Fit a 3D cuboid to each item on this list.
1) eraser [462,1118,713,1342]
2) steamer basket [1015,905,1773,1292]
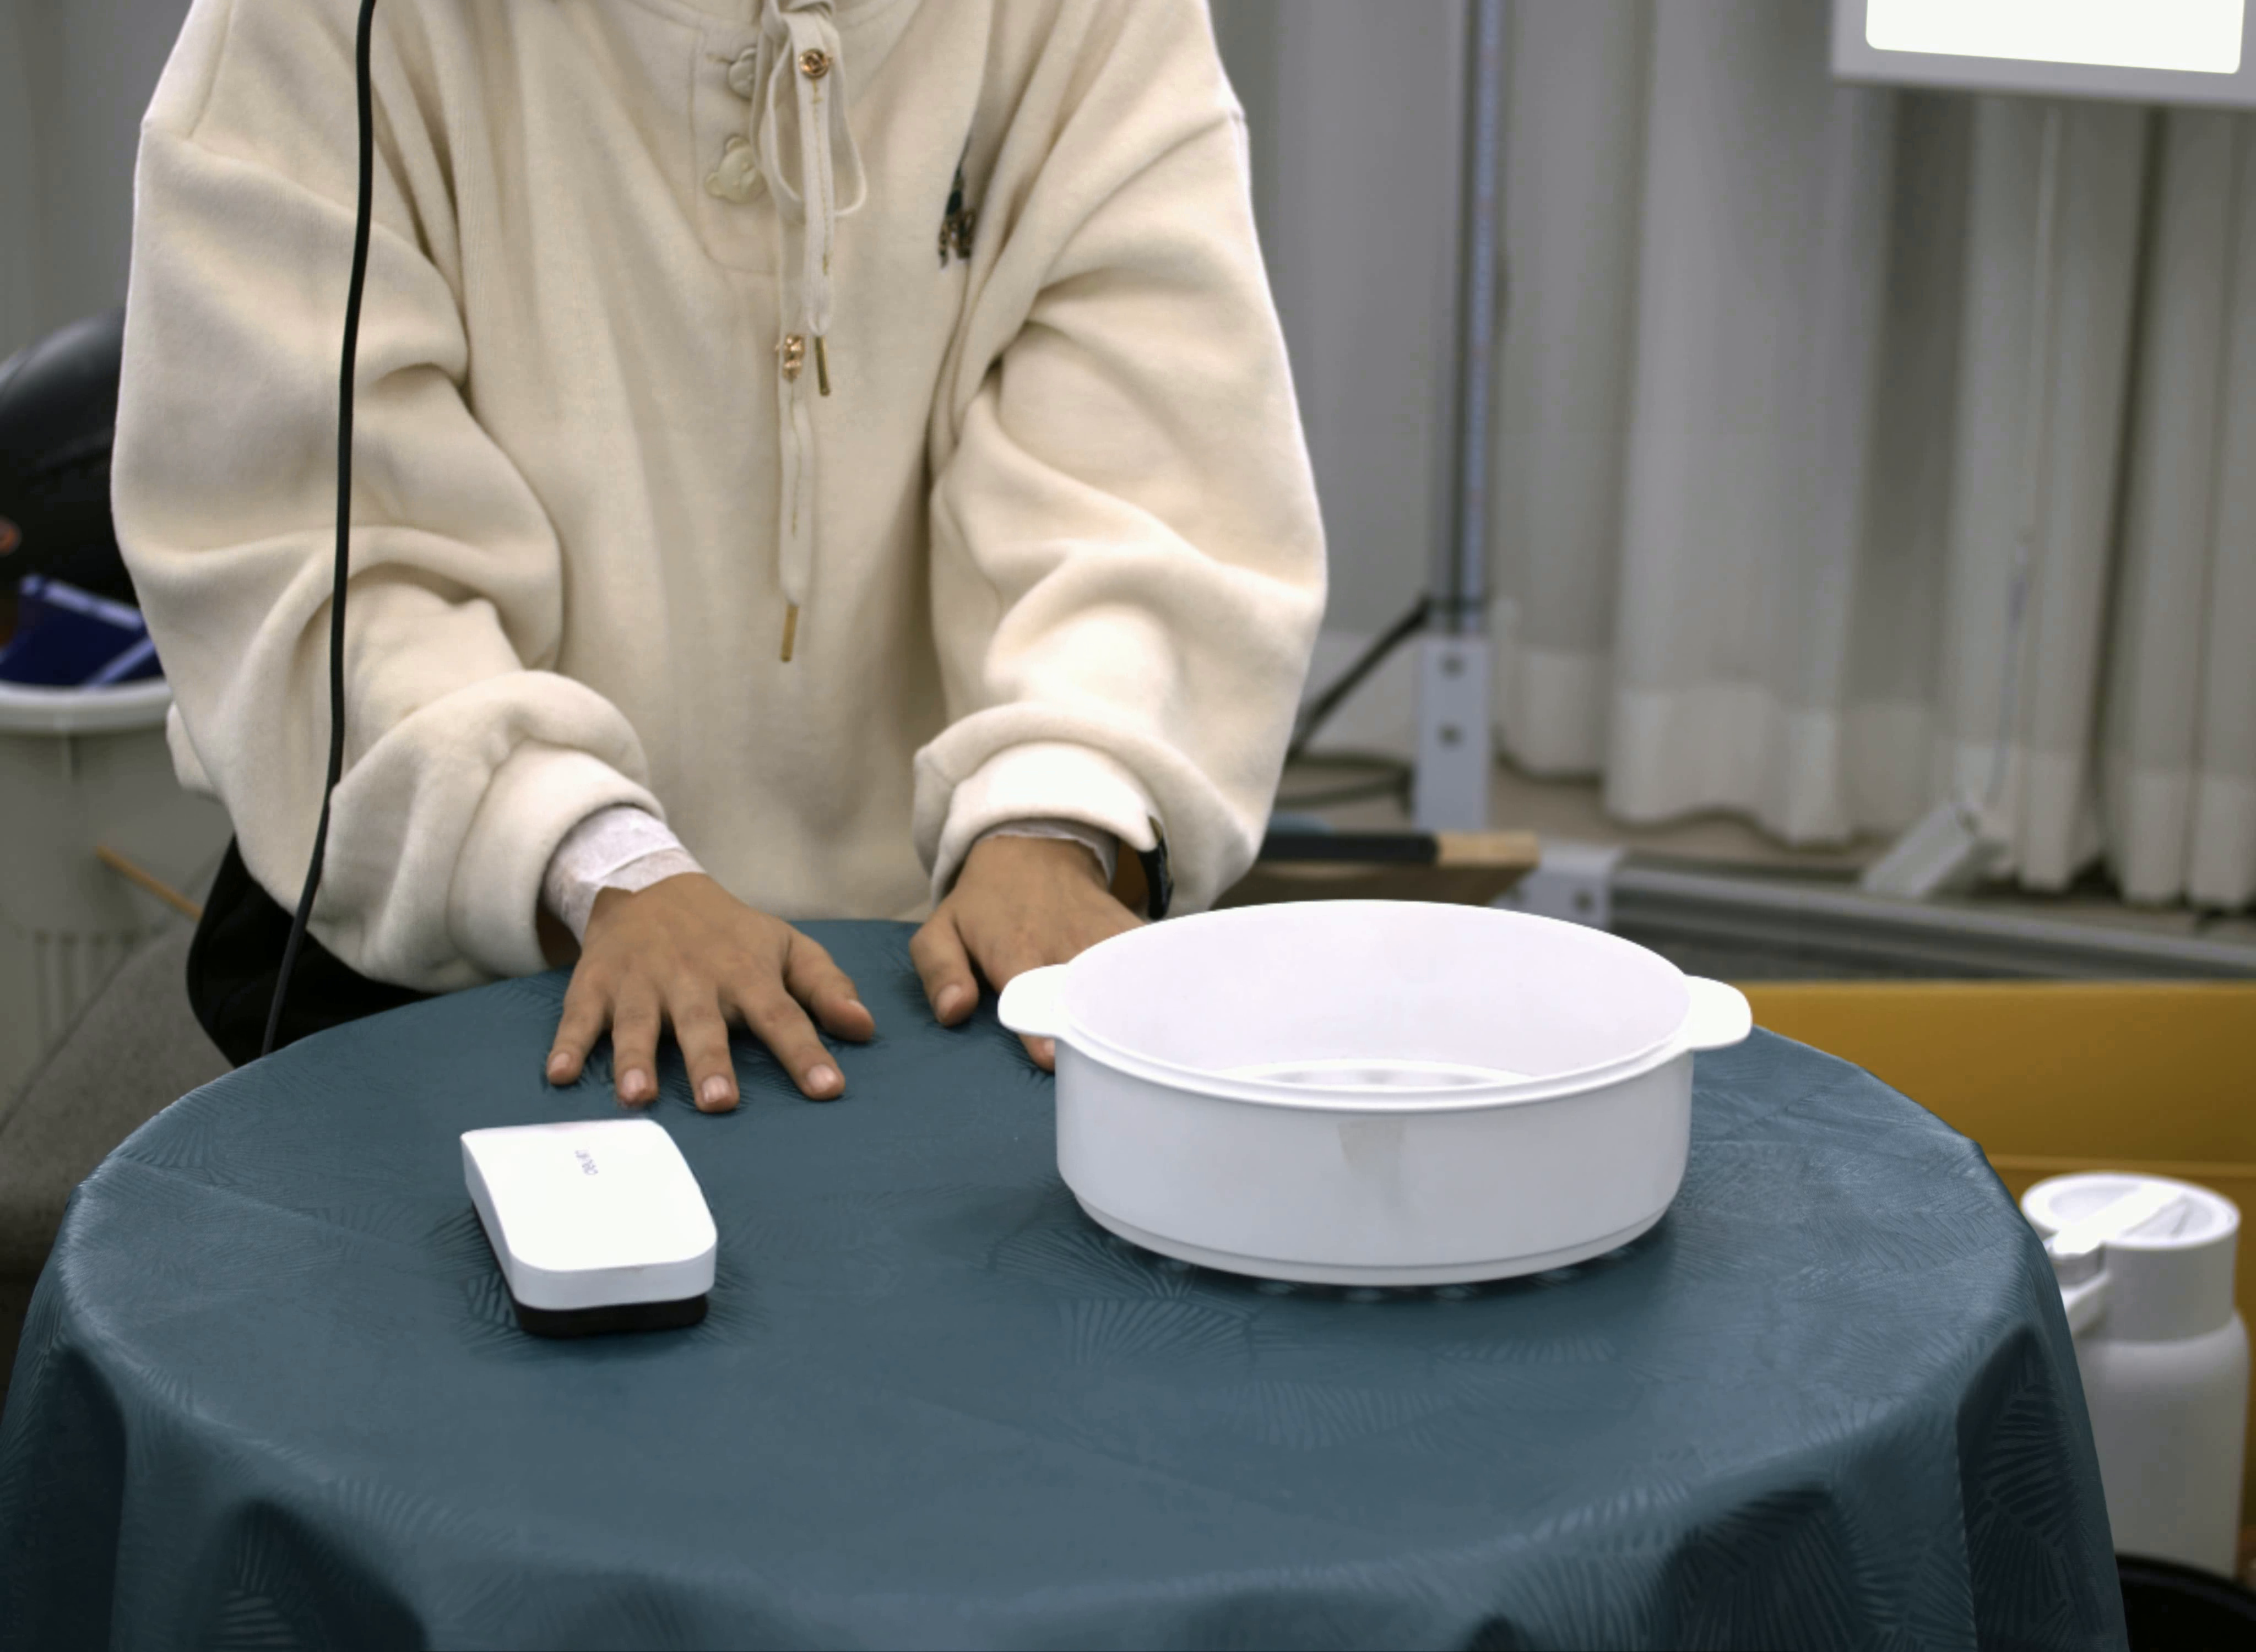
[{"bbox_3d":[-0.159,0.114,1.552,0.063,0.035,0.130,-4,17,-13],"label":"eraser"},{"bbox_3d":[0.080,0.082,1.608,0.229,0.070,0.201,2,15,2],"label":"steamer basket"}]
